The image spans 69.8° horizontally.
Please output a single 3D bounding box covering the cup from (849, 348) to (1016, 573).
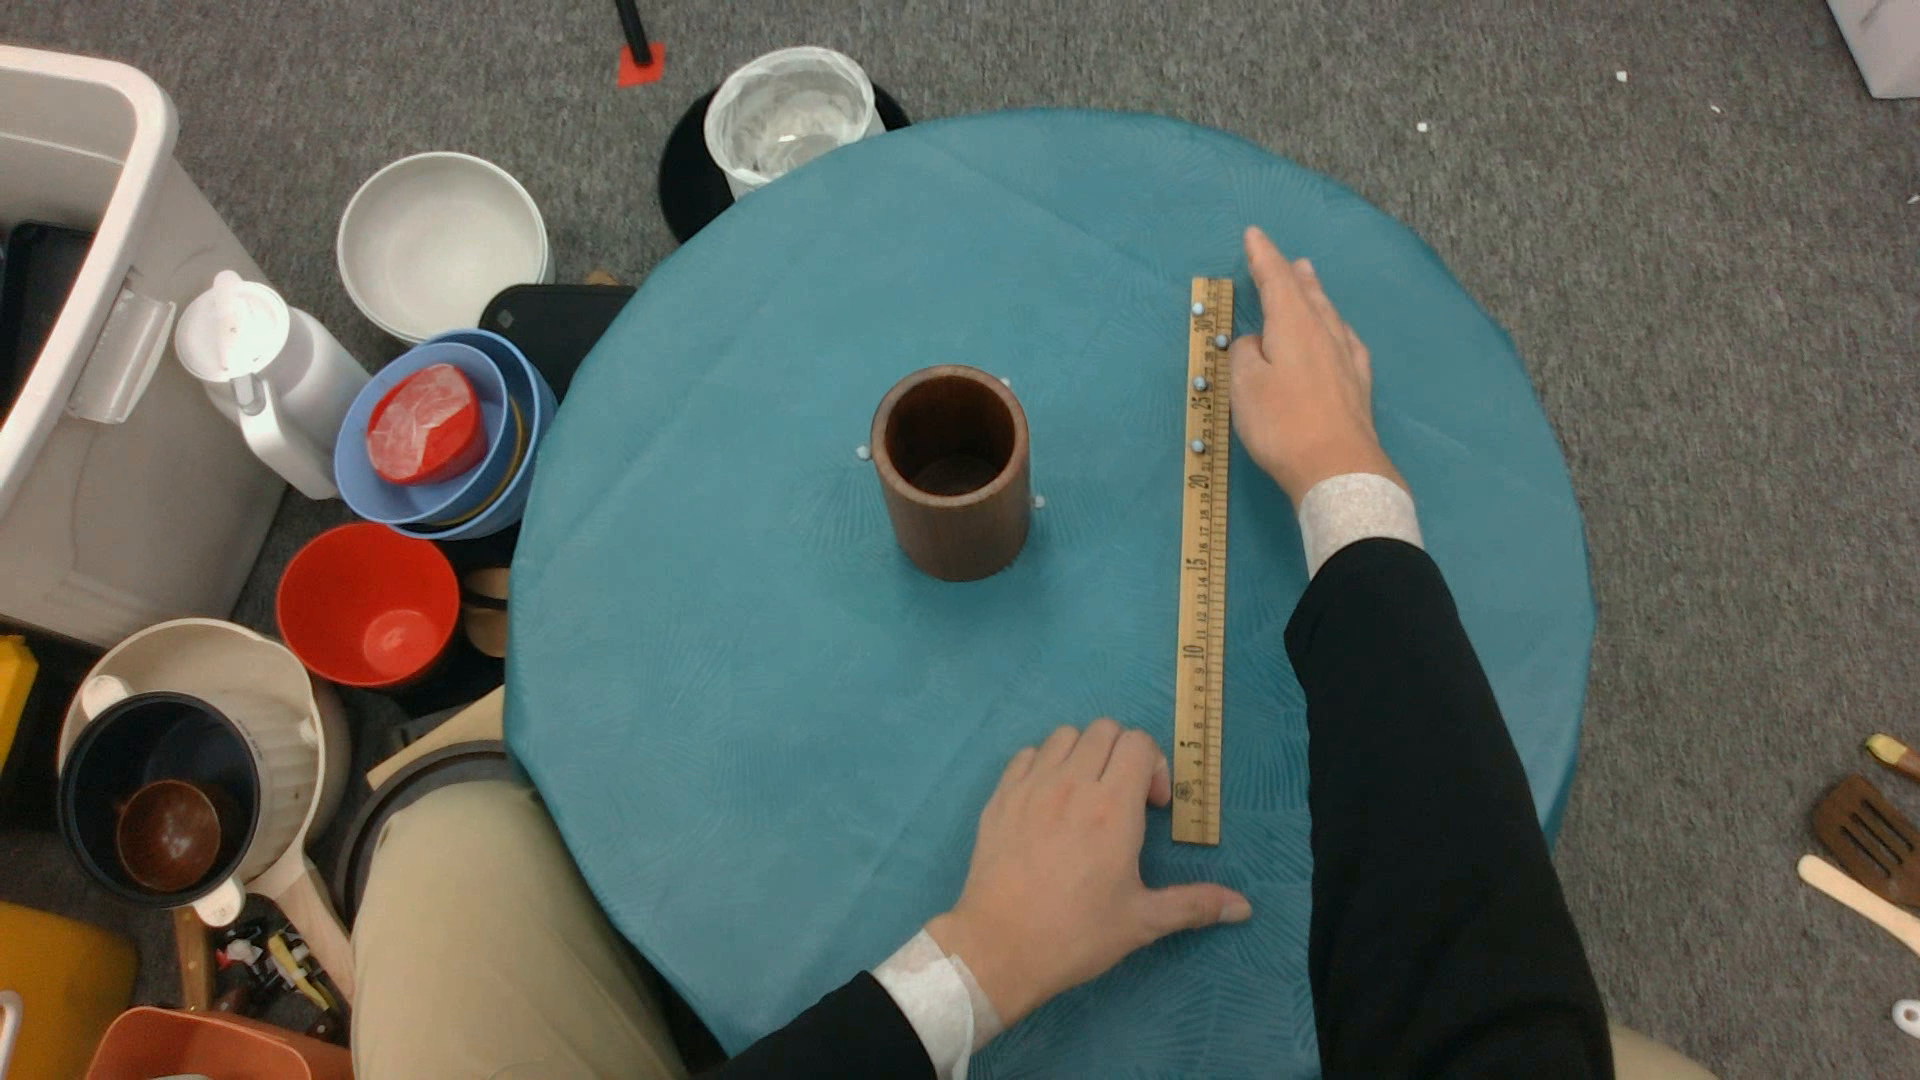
[{"bbox_3d":[-0.011,-0.039,0.729,0.088,0.118,0.088,-1,69,3],"label":"cup"}]

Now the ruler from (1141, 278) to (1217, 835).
[{"bbox_3d":[0.125,-0.004,0.767,0.027,0.022,0.333,3,69,9],"label":"ruler"}]
